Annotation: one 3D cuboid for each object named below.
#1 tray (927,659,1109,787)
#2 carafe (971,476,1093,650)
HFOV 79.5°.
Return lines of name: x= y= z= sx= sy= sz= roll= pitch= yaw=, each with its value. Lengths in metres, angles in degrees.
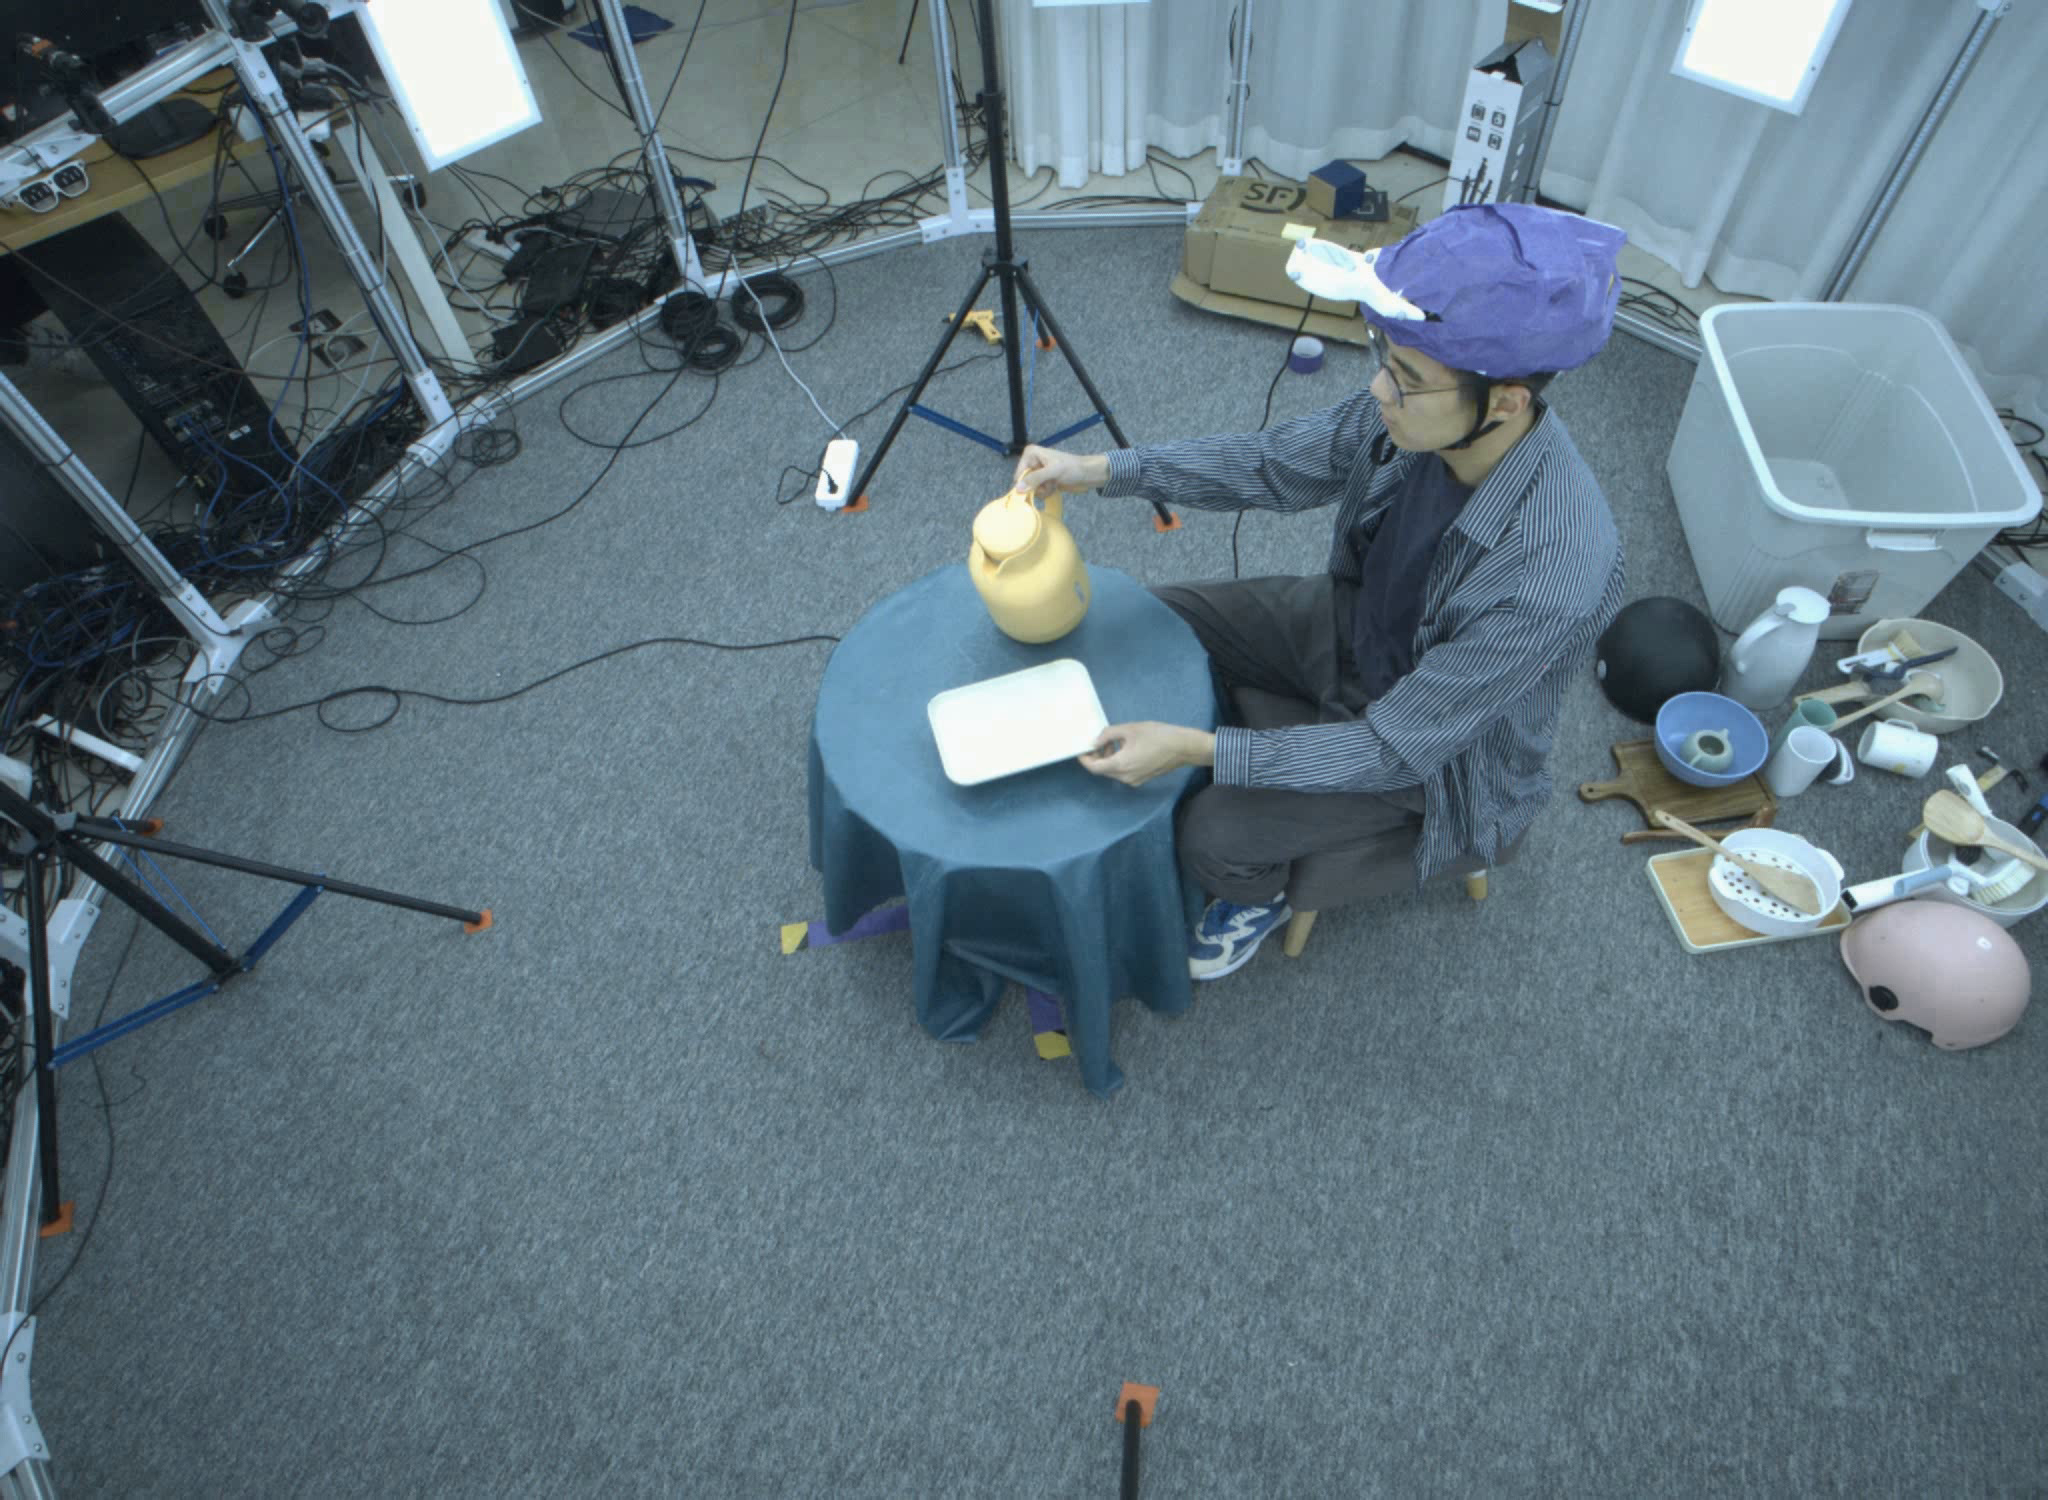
tray: x=-0.010 y=-0.039 z=1.756 sx=0.241 sy=0.018 sz=0.168 roll=-15 pitch=56 yaw=-7
carafe: x=0.012 y=-0.279 z=1.813 sx=0.161 sy=0.264 sz=0.202 roll=15 pitch=76 yaw=16
